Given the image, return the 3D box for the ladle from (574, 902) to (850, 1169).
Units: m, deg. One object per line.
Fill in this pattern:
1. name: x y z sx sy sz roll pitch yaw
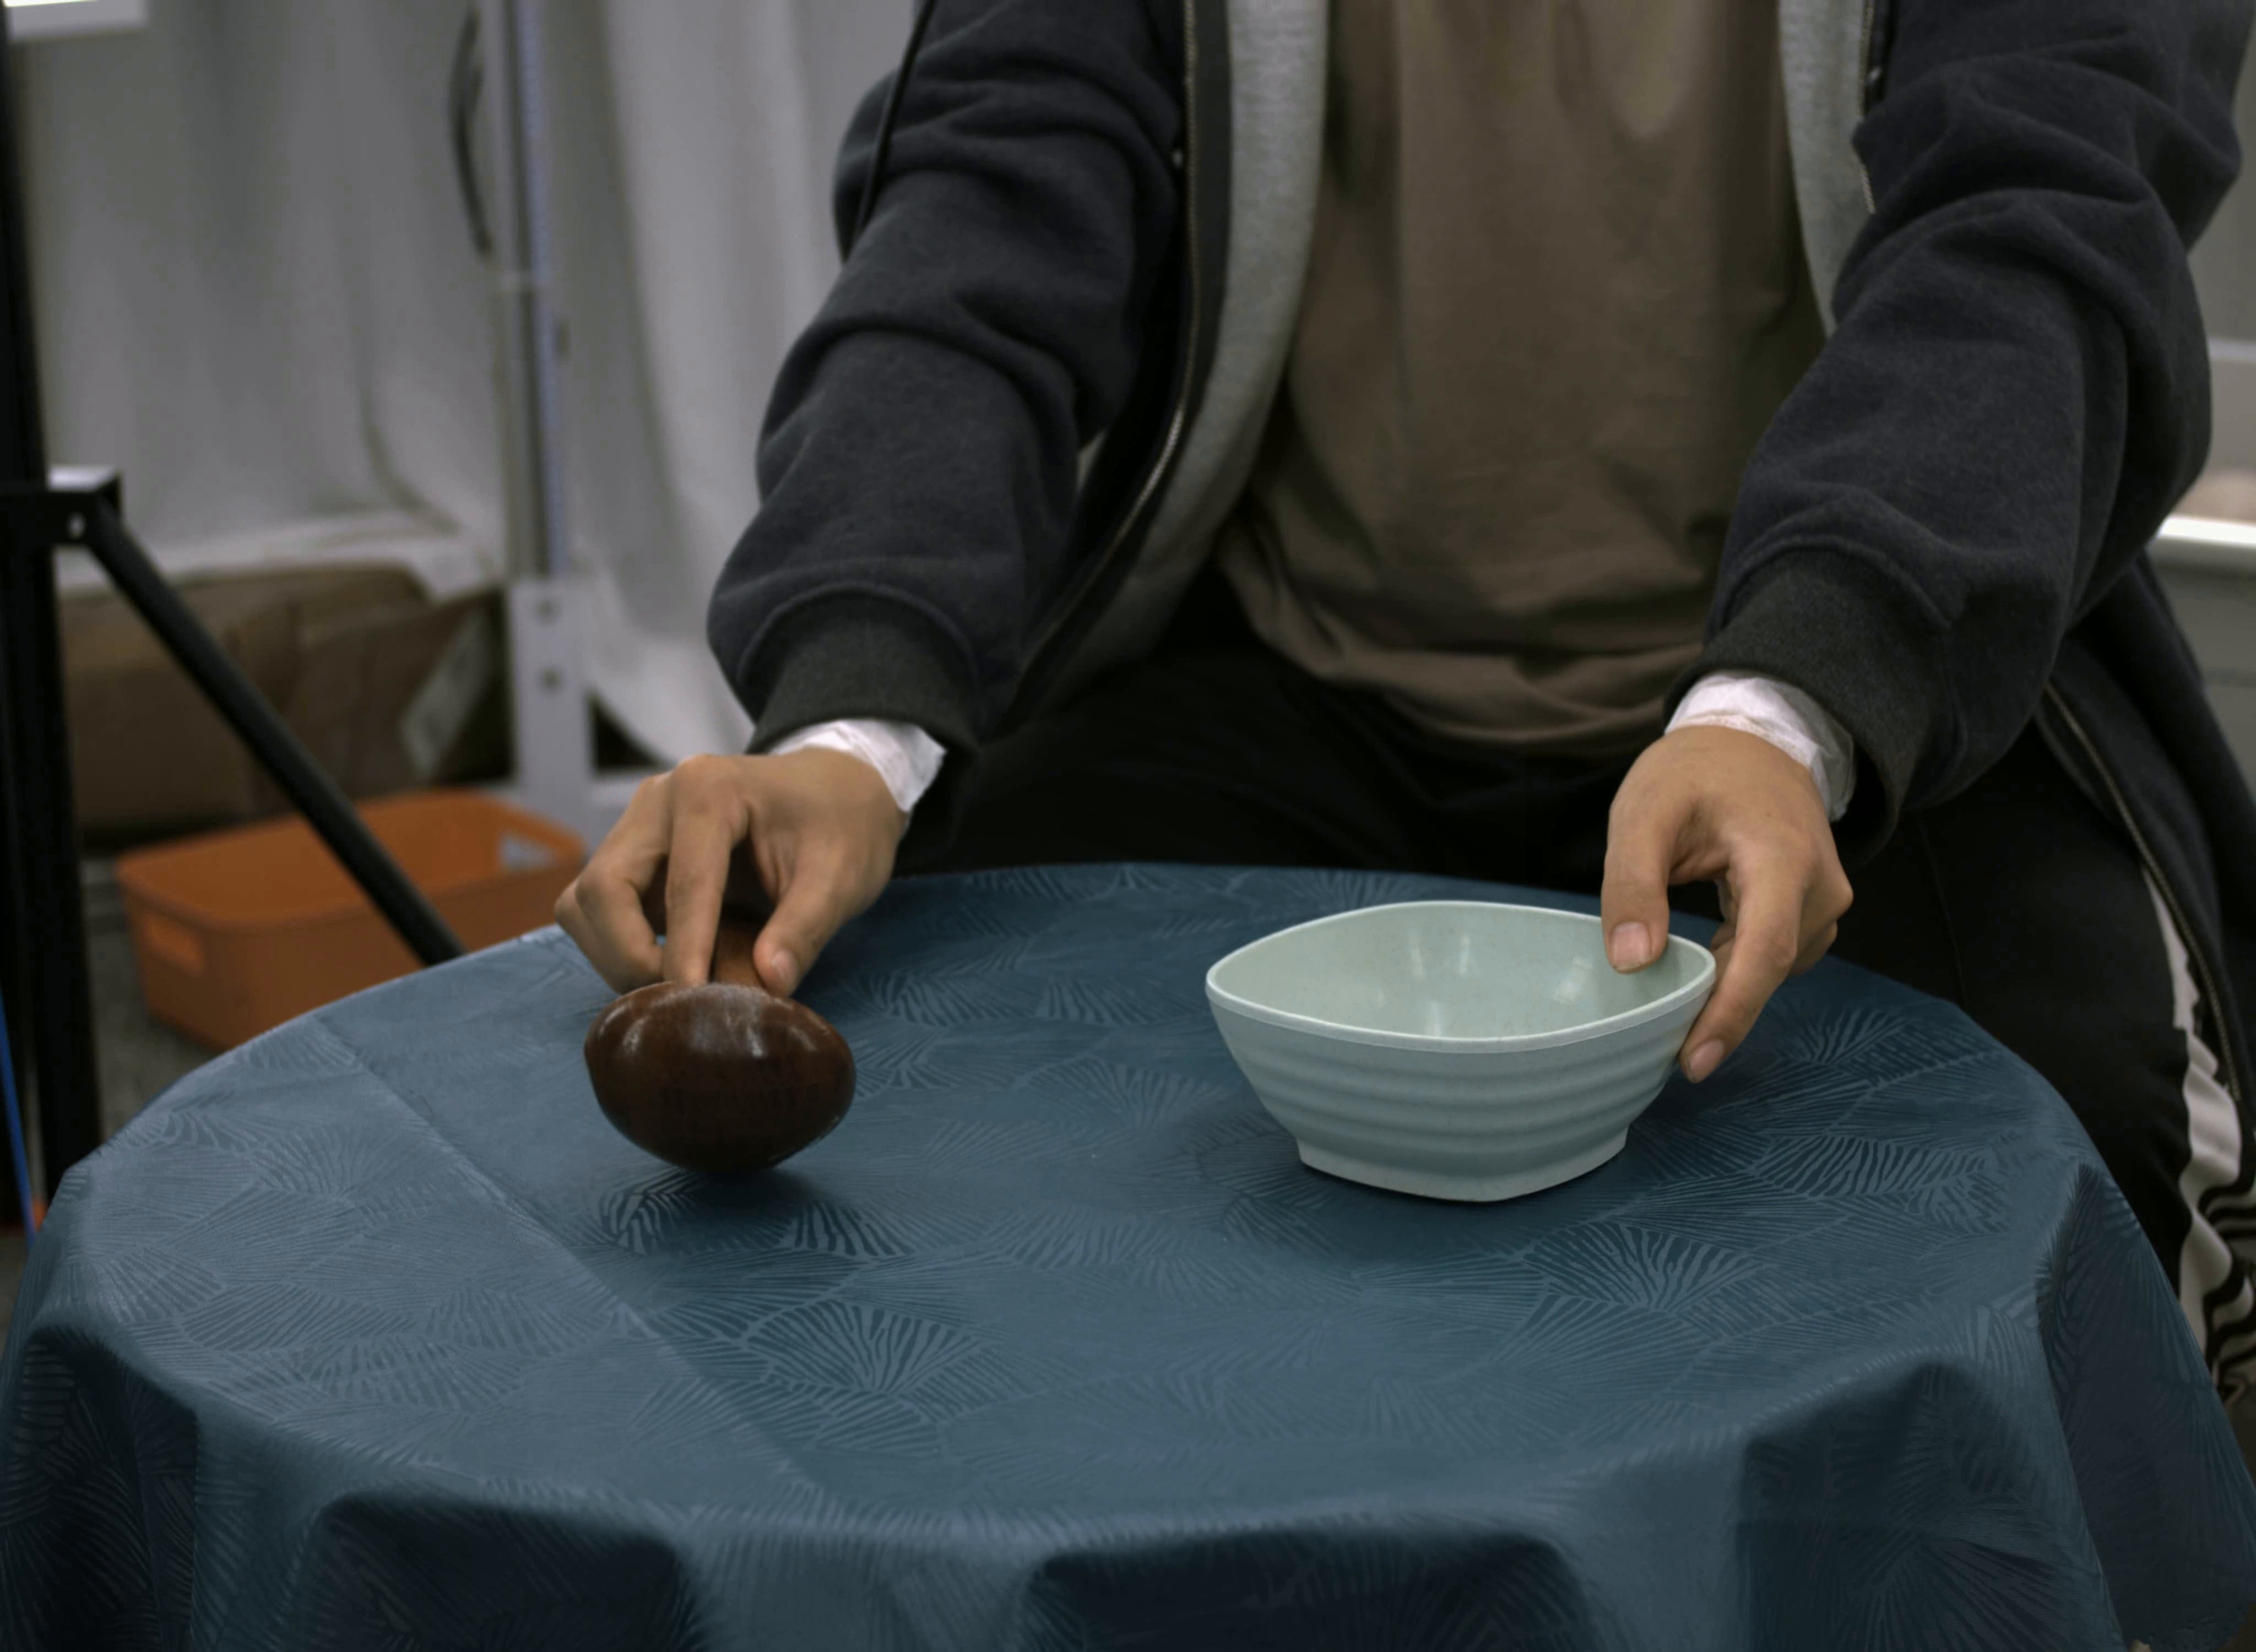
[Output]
1. ladle: -0.121 0.041 1.665 0.081 0.077 0.275 12 17 -2

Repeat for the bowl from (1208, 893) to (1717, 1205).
1. bowl: 0.100 0.069 1.570 0.151 0.058 0.152 -4 16 0
